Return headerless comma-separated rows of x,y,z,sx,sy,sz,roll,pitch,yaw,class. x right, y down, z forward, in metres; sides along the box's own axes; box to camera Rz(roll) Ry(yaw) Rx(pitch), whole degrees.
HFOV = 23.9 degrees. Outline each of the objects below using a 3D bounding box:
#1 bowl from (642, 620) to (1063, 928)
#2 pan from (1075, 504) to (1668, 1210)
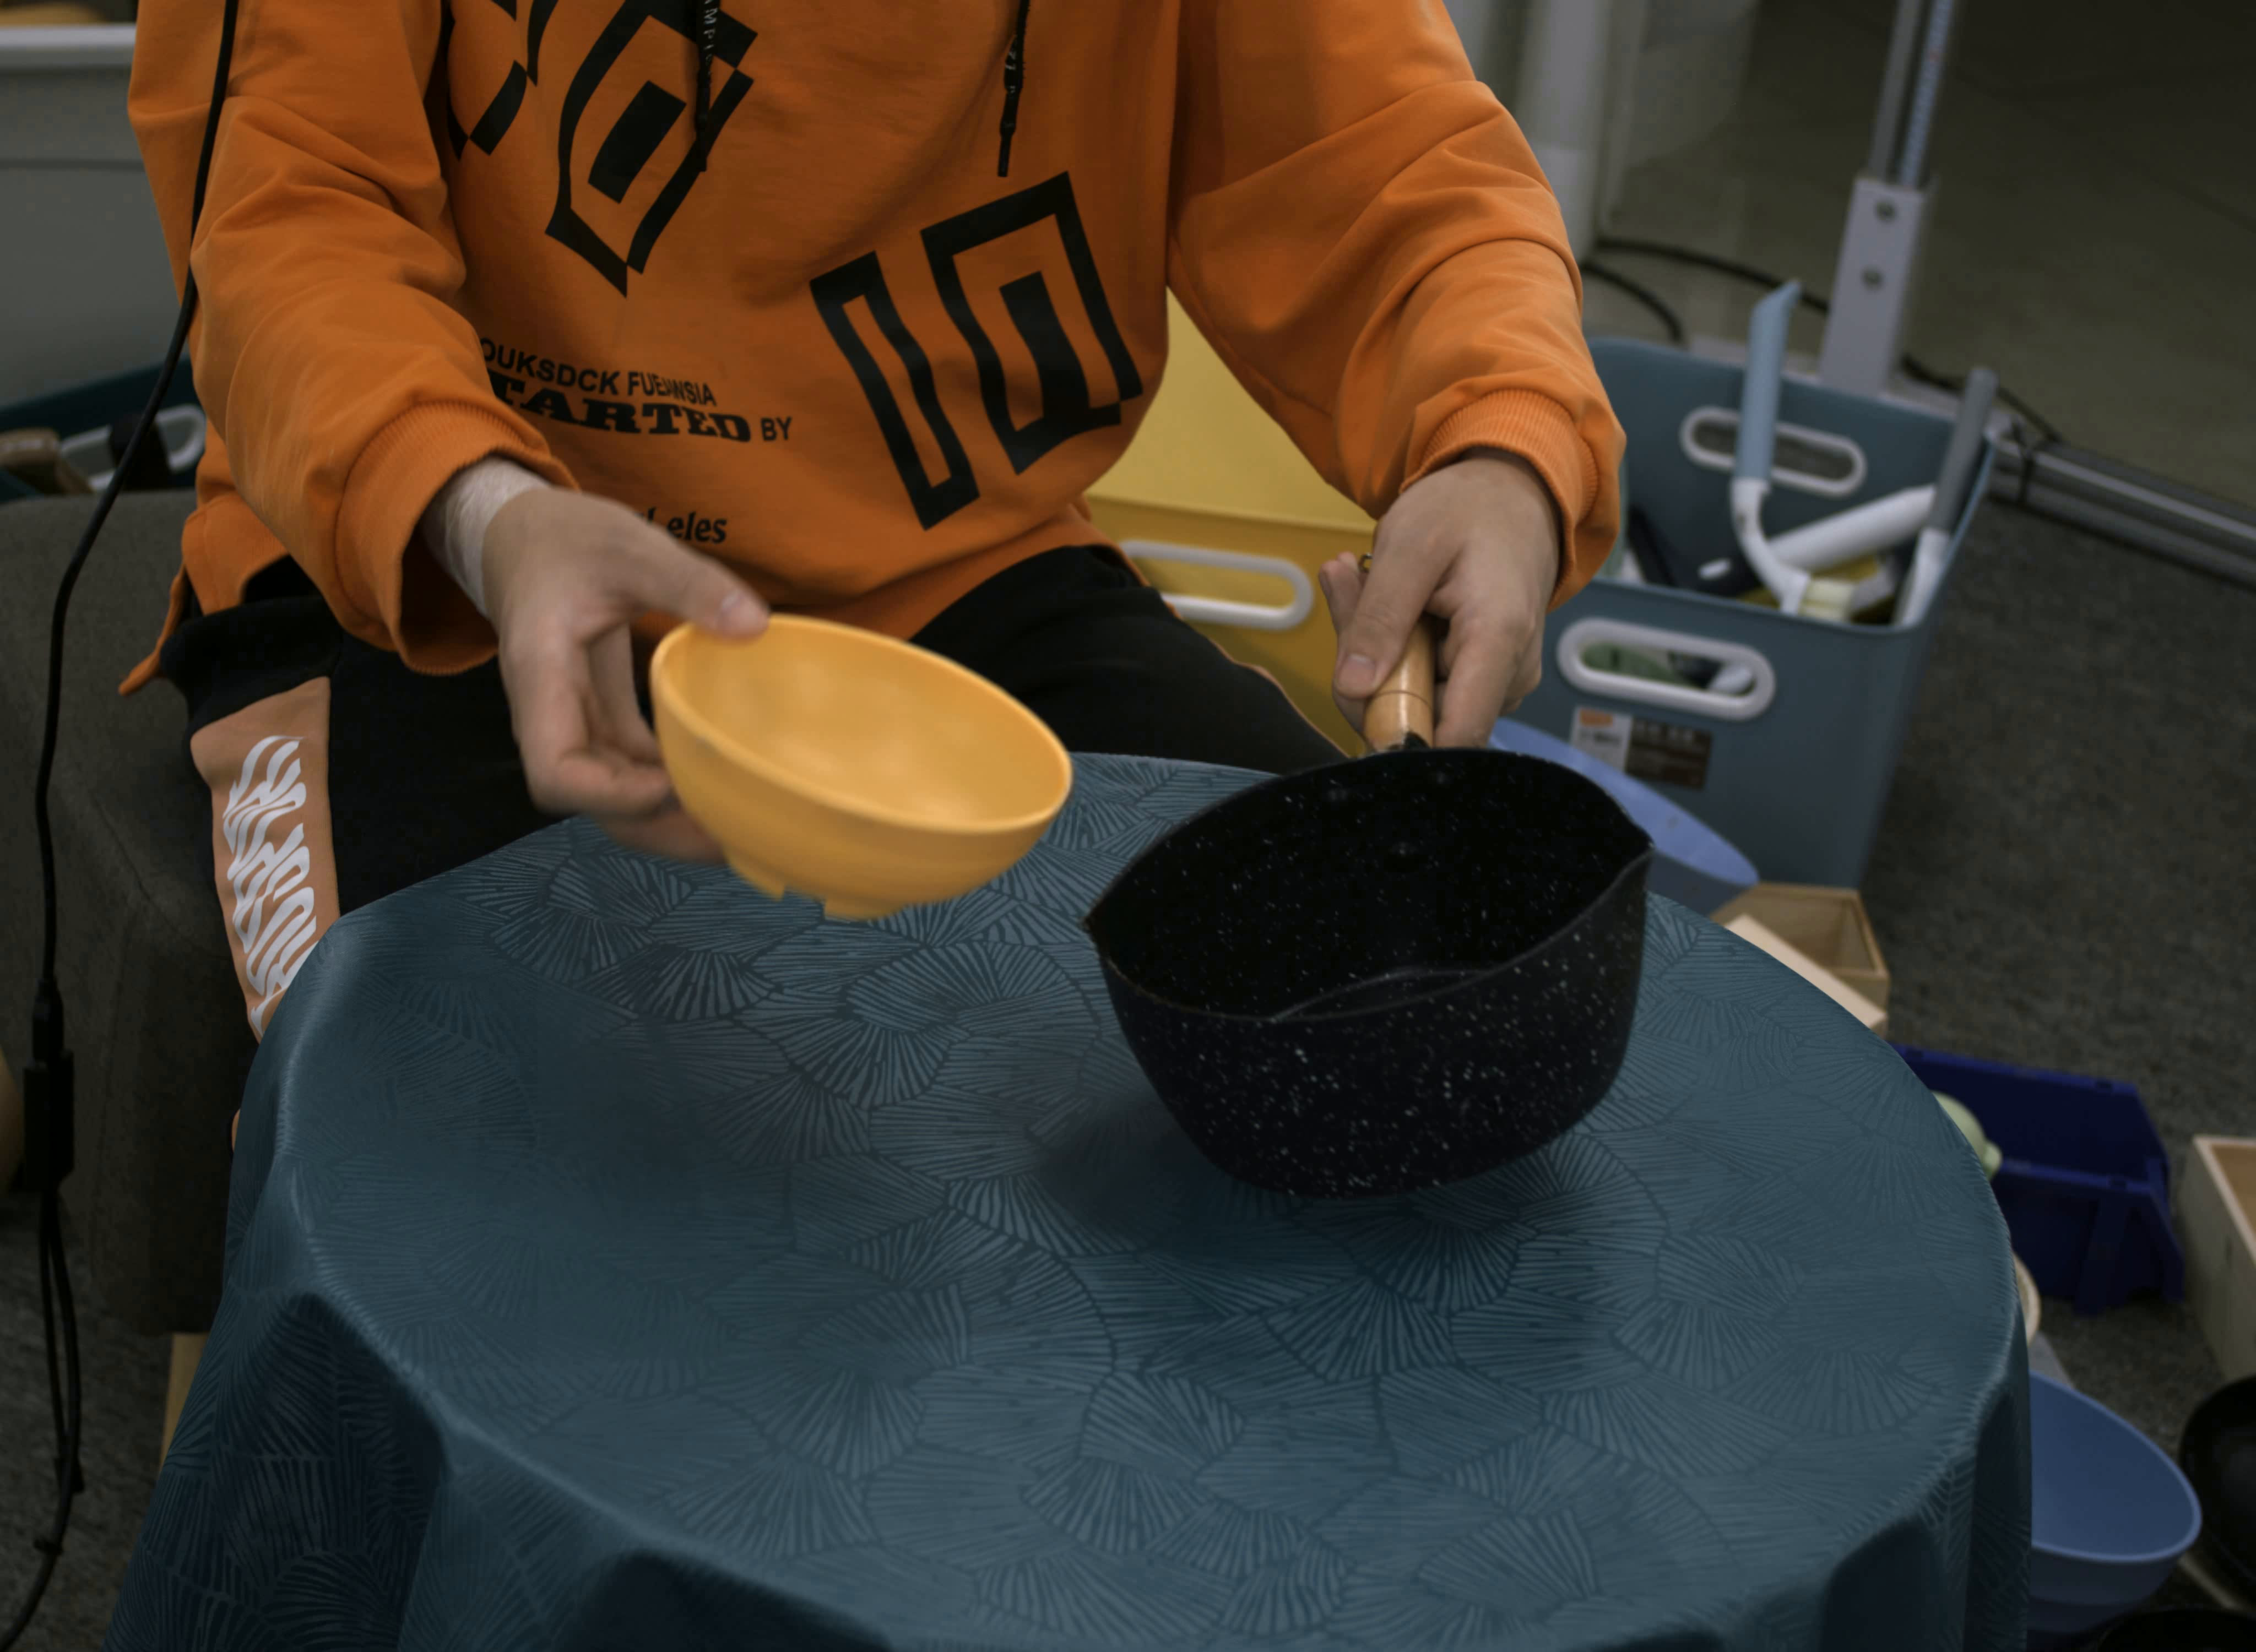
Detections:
-0.098,-0.008,1.762,0.144,0.060,0.146,16,24,-7,bowl
0.094,0.007,1.880,0.207,0.107,0.344,-9,28,12,pan
